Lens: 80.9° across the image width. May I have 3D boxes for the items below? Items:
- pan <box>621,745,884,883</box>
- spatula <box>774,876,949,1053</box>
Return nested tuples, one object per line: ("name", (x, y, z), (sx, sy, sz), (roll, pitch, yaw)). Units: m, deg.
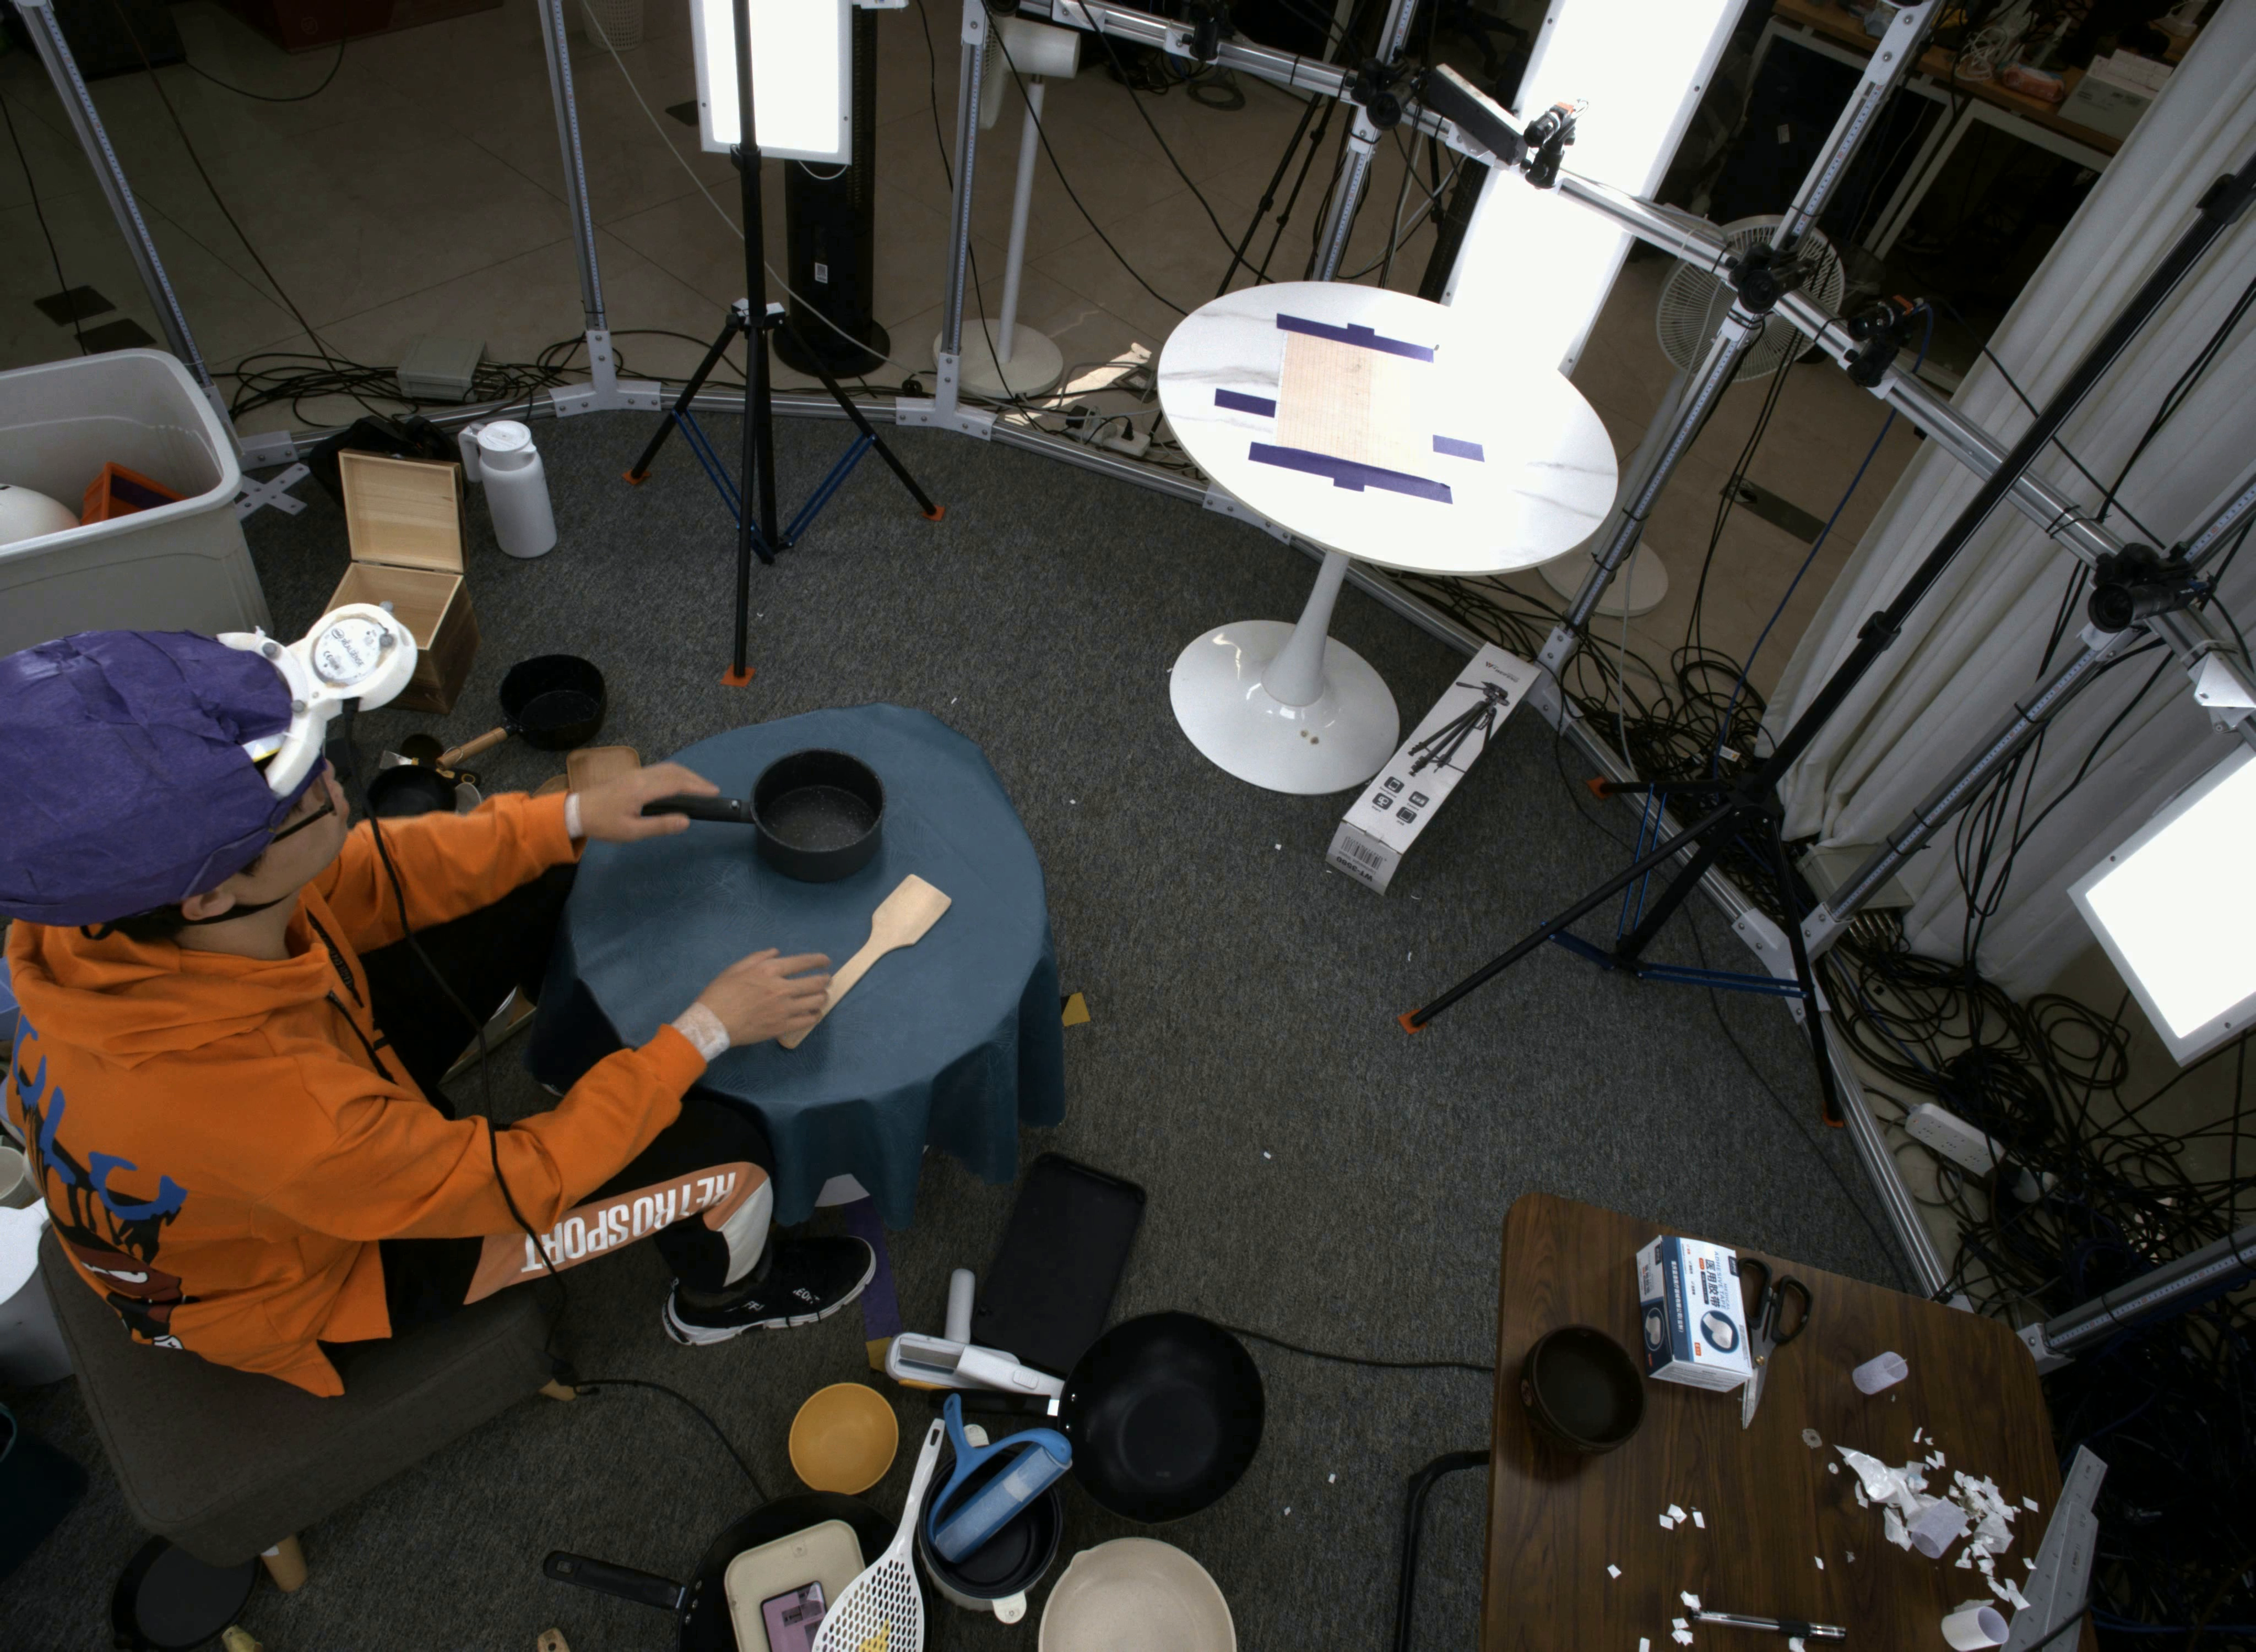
("pan", (-0.480, -0.017, 1.657), (0.330, 0.088, 0.168), (2, 52, -16))
("spatula", (-0.332, 0.170, 1.605), (0.071, 0.011, 0.292), (35, 53, 8))
